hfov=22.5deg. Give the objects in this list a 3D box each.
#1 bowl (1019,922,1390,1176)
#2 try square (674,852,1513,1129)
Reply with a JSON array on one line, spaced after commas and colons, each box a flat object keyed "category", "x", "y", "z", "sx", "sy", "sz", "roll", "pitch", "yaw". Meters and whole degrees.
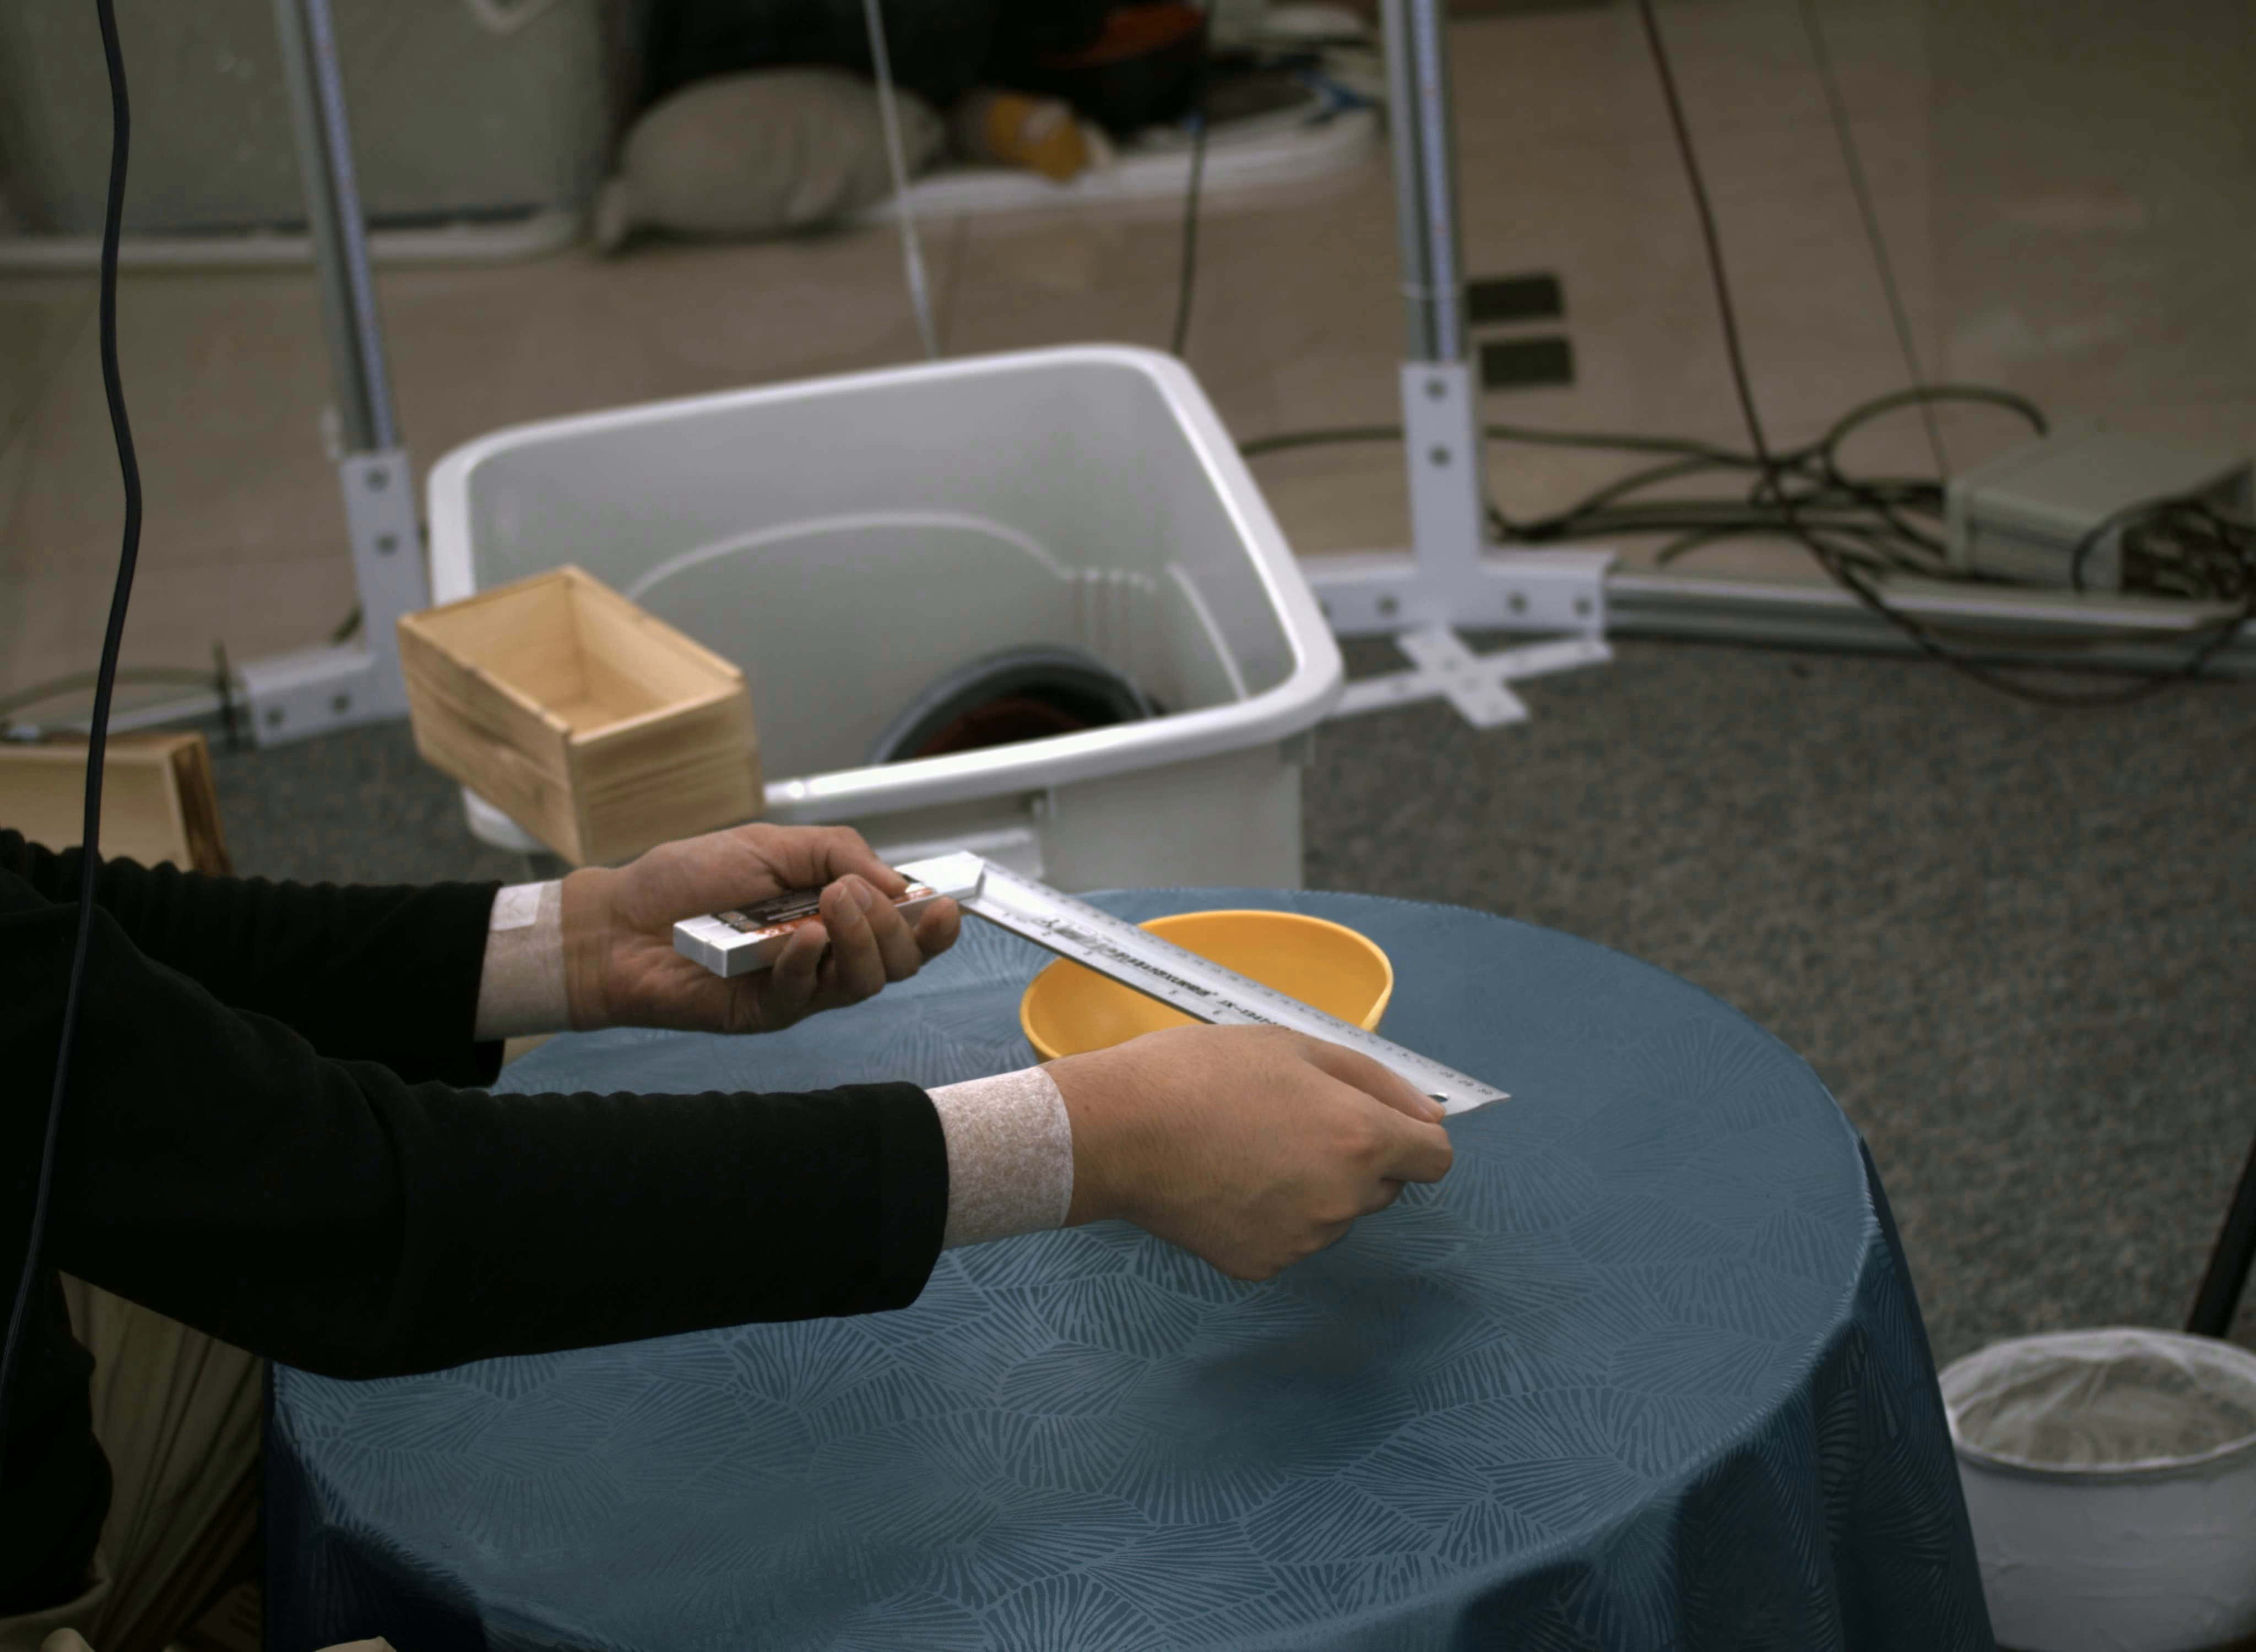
[{"category": "bowl", "x": 0.034, "y": 0.093, "z": 2.175, "sx": 0.145, "sy": 0.061, "sz": 0.143, "roll": -8, "pitch": 24, "yaw": 4}, {"category": "try square", "x": -0.018, "y": 0.071, "z": 2.098, "sx": 0.151, "sy": 0.016, "sz": 0.310, "roll": -16, "pitch": 26, "yaw": -36}]
